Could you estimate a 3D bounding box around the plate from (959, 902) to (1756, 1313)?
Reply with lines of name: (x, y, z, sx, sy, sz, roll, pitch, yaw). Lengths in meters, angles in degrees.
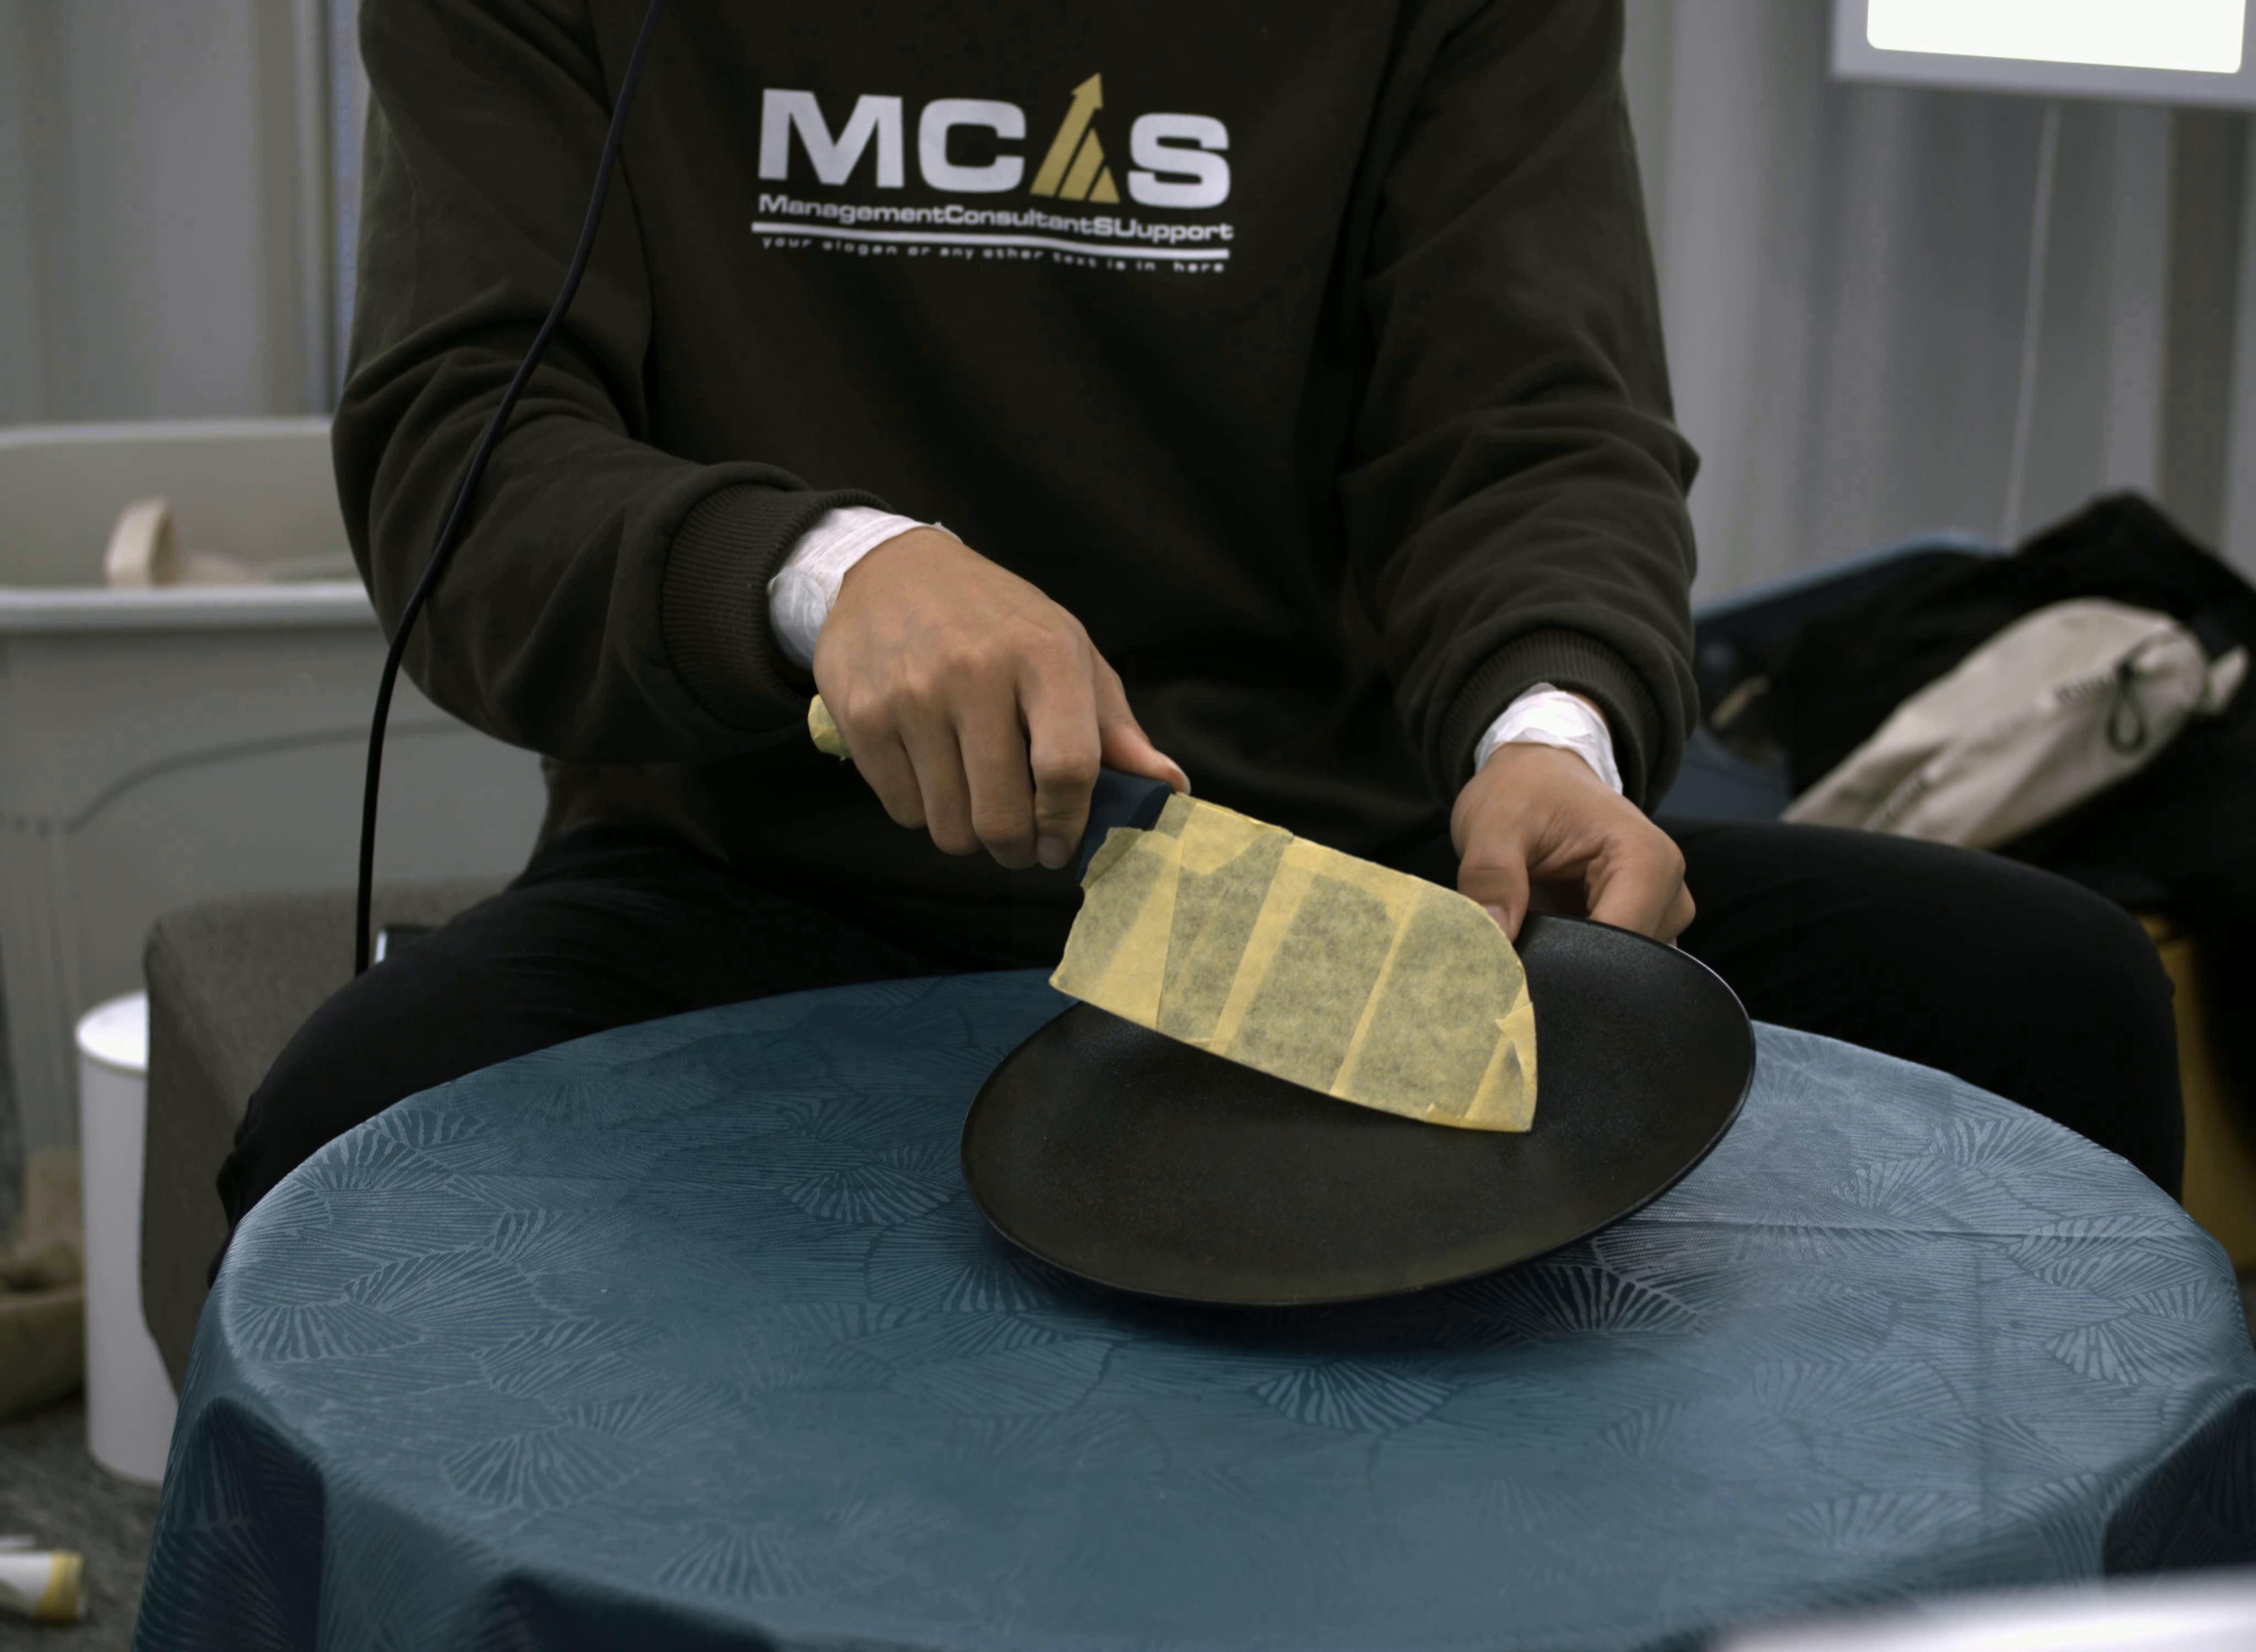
plate: (0.069, 0.089, 1.591, 0.243, 0.024, 0.242, -8, 26, 4)

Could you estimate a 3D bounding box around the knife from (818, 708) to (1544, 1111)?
knife: (0.011, 0.023, 1.649, 0.286, 0.081, 0.027, 23, -7, 31)
